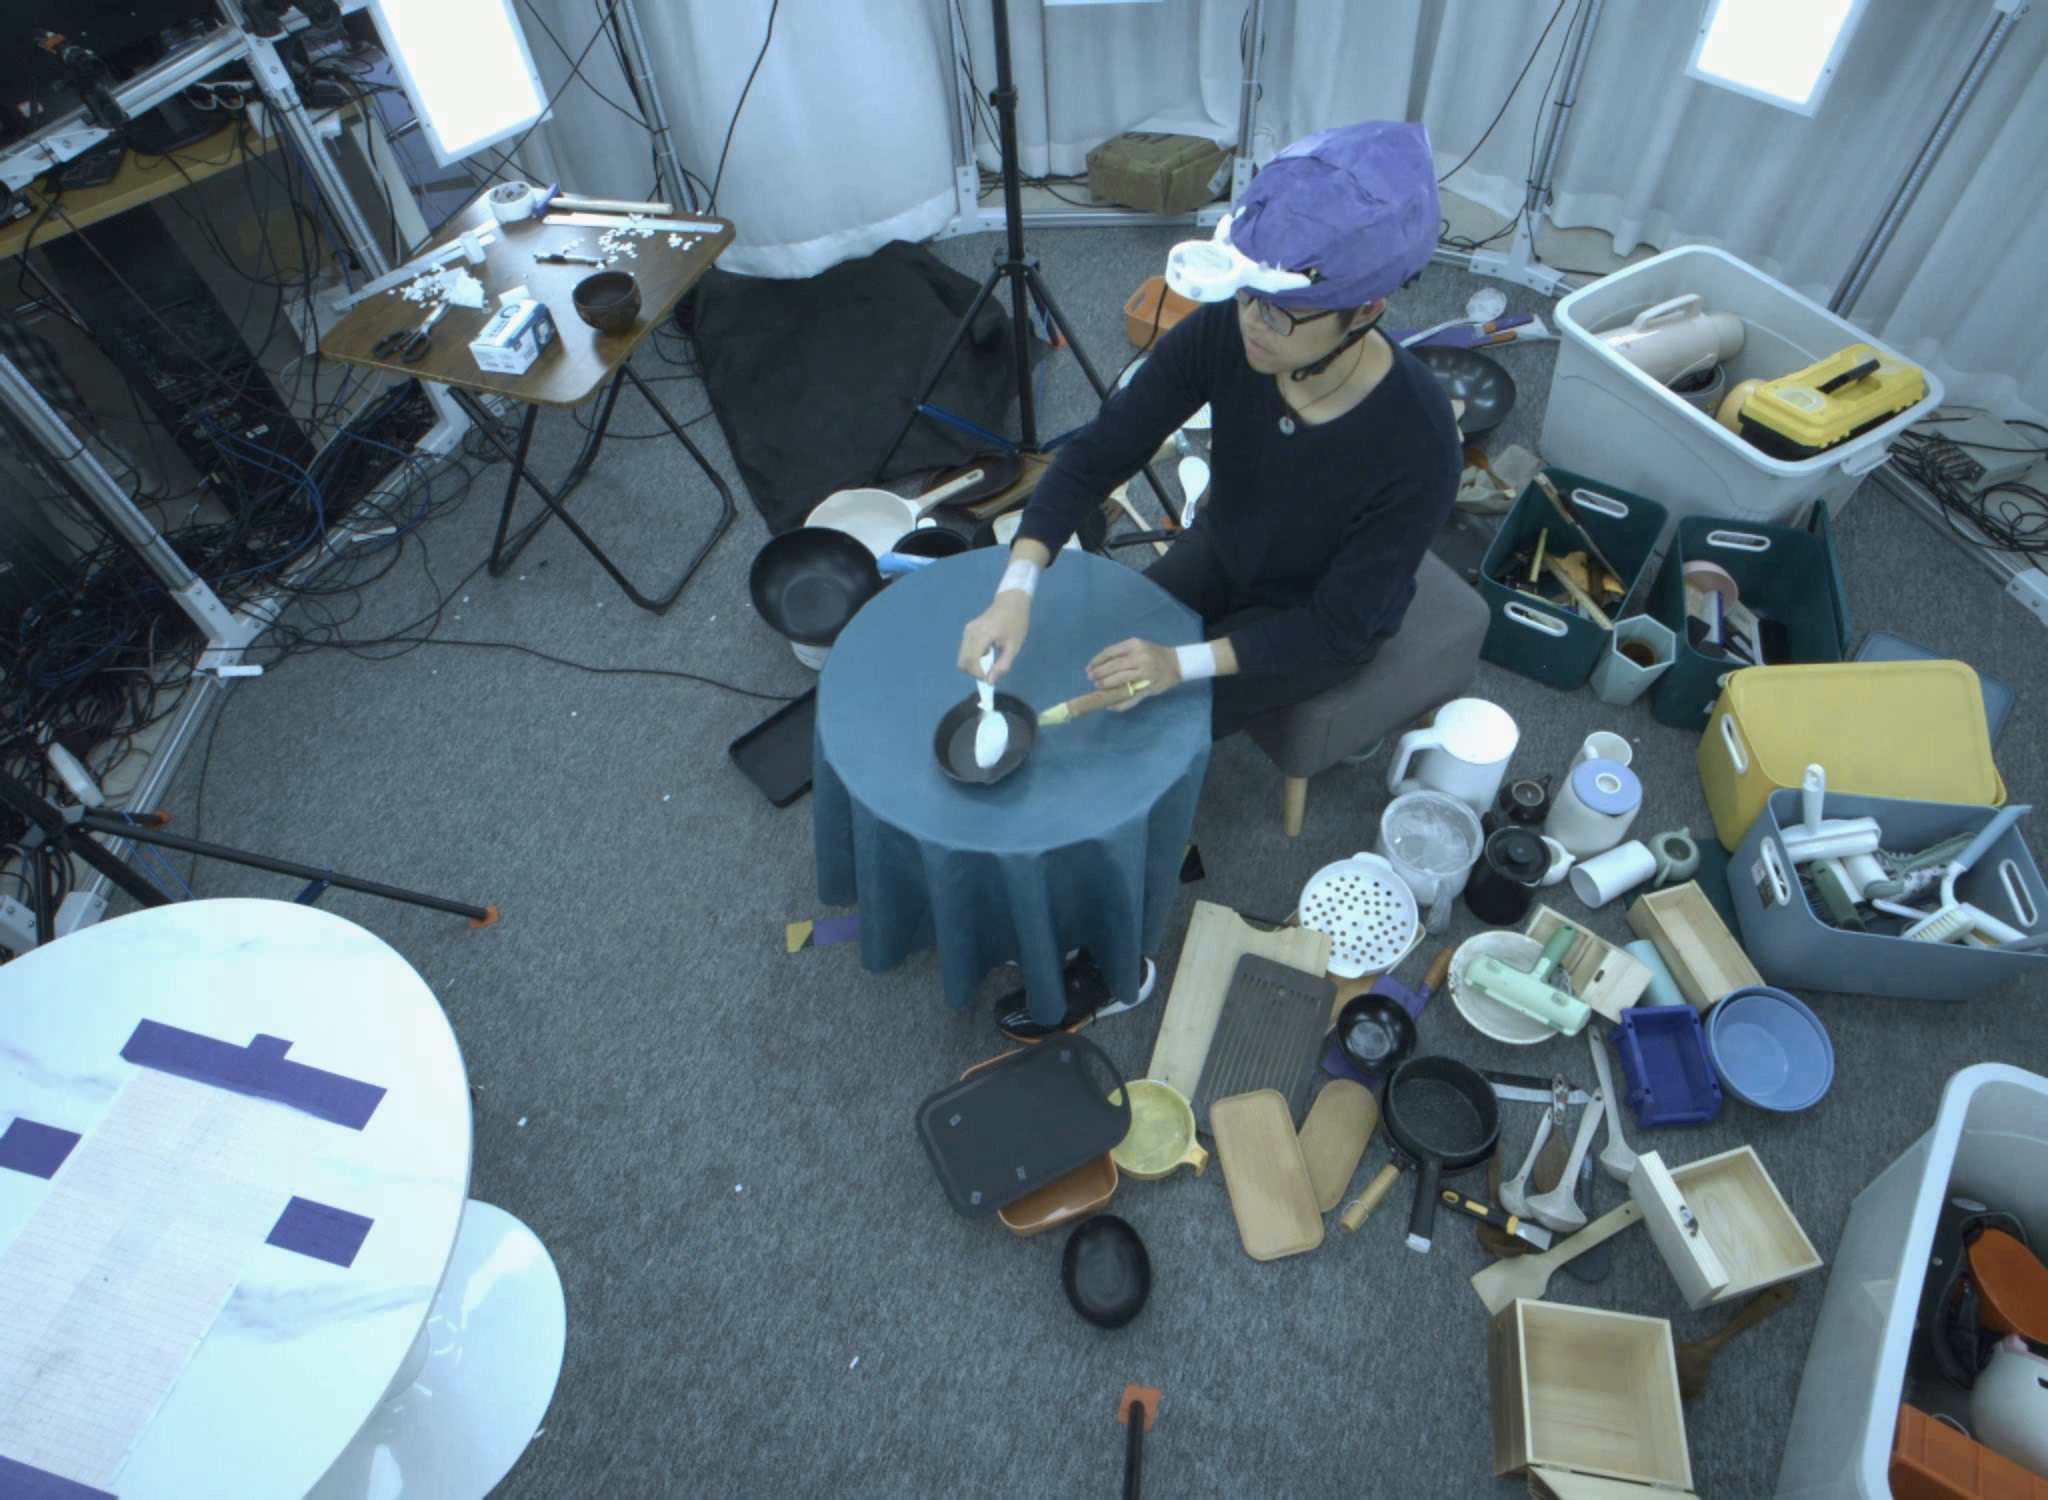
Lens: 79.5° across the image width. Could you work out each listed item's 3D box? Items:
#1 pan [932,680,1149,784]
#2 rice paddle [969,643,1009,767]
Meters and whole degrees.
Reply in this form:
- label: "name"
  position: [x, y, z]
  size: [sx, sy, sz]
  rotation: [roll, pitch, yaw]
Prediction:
- label: "pan"
  position: [0.025, -0.039, 1.748]
  size: [0.323, 0.050, 0.166]
  rotation: [-16, 54, 8]
- label: "rice paddle"
  position: [-0.048, -0.056, 1.683]
  size: [0.029, 0.208, 0.069]
  rotation: [26, 51, 31]
